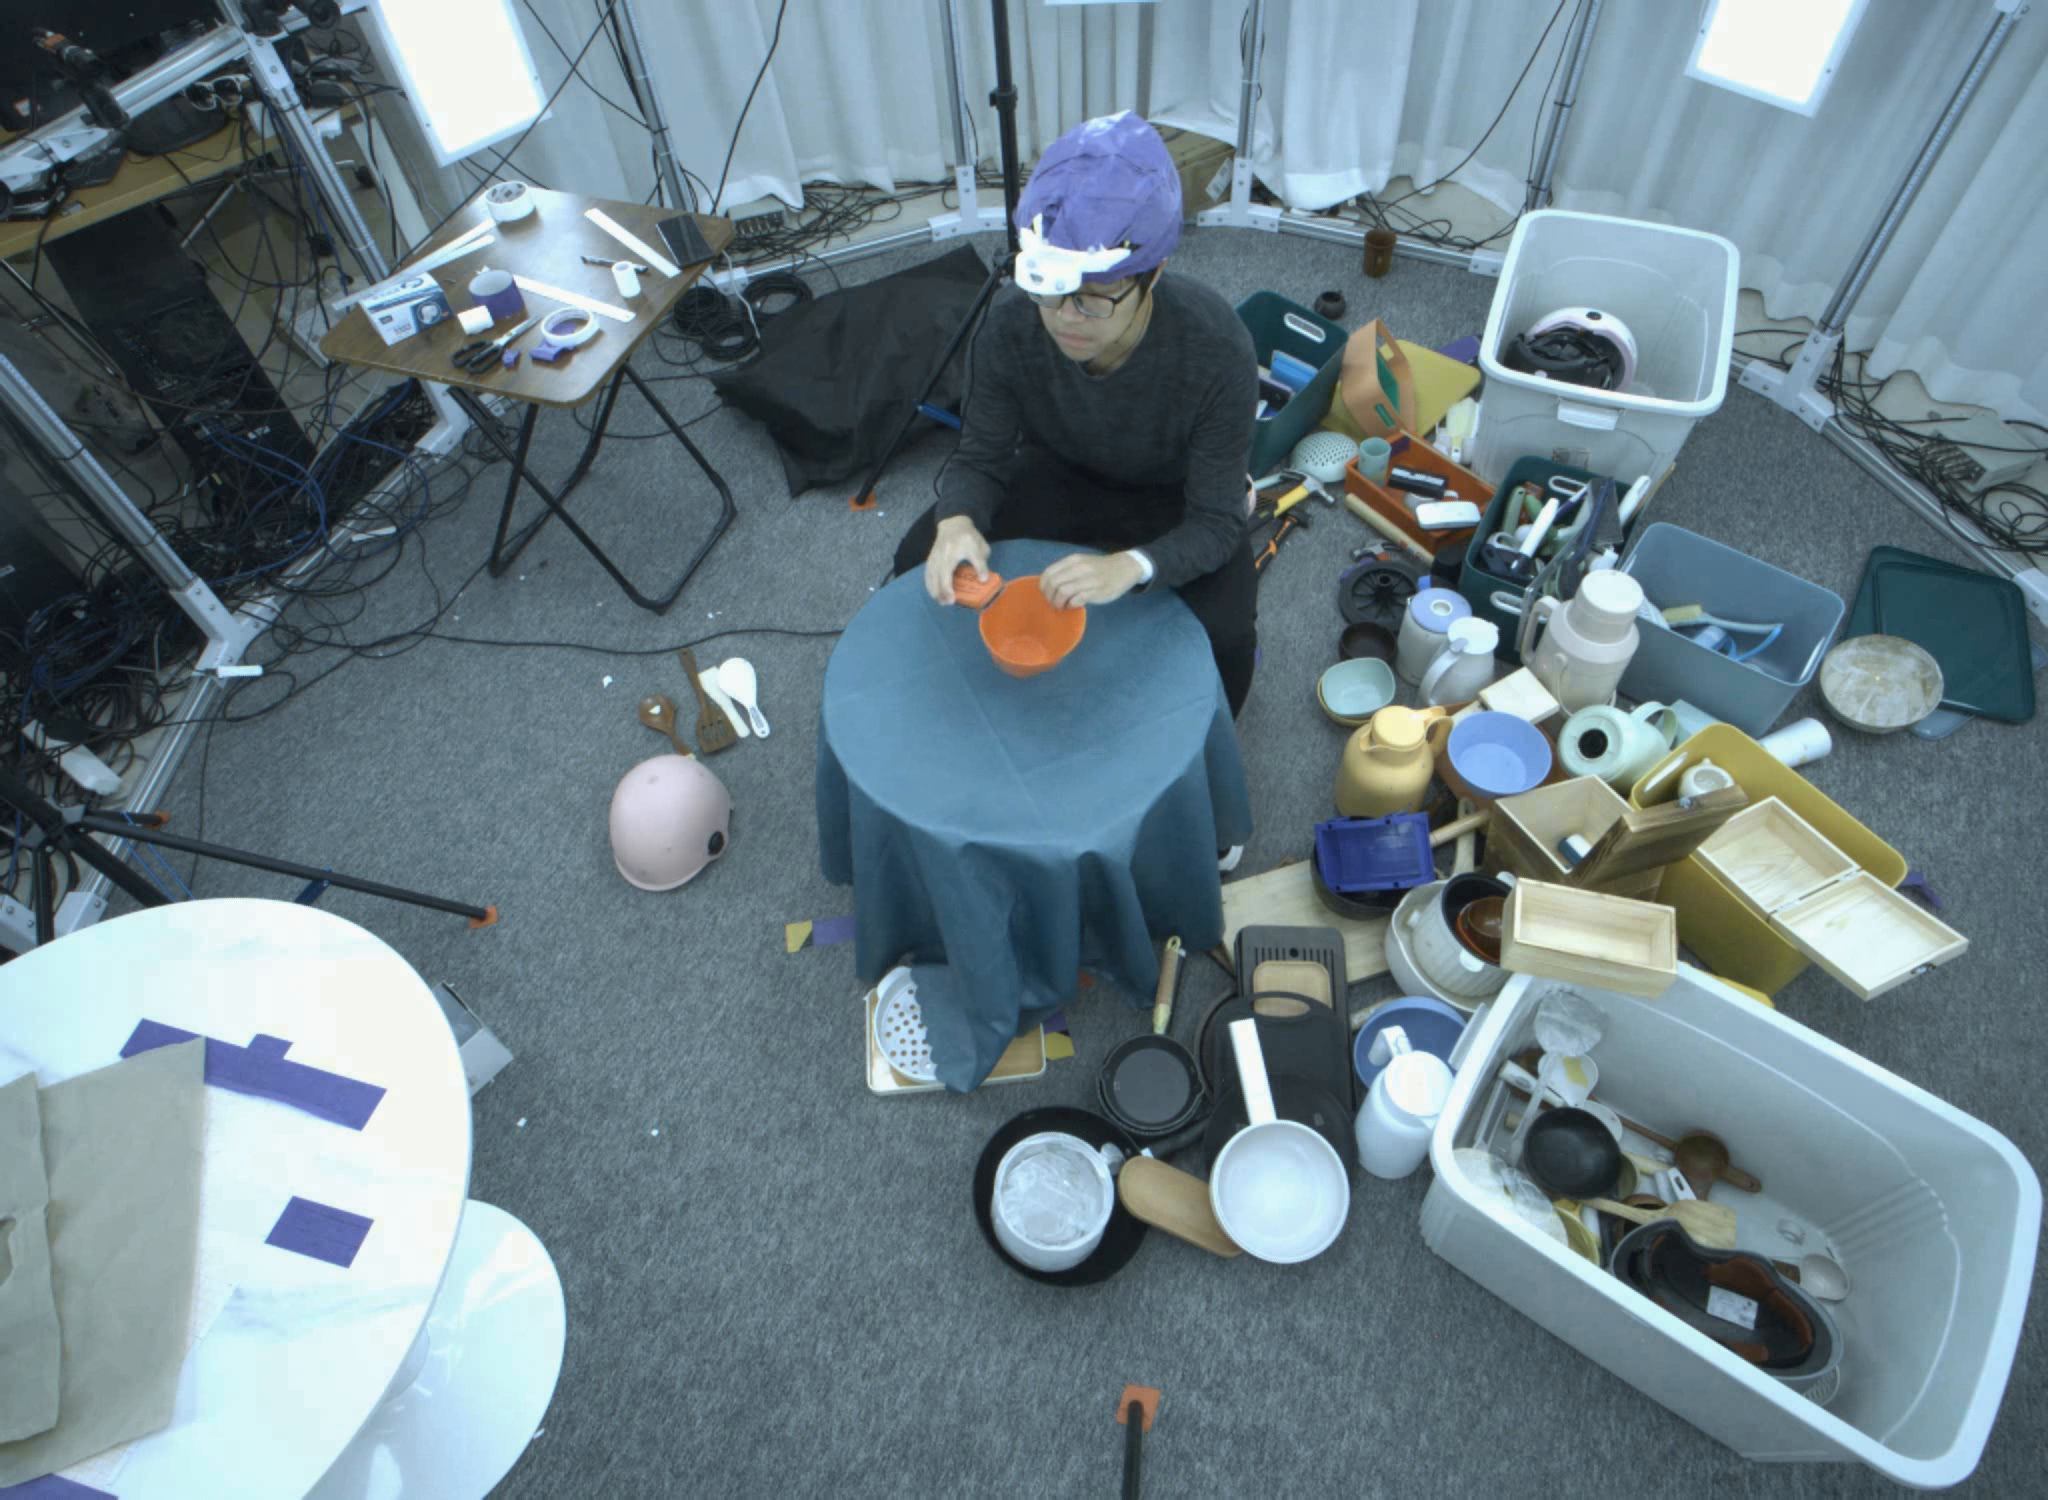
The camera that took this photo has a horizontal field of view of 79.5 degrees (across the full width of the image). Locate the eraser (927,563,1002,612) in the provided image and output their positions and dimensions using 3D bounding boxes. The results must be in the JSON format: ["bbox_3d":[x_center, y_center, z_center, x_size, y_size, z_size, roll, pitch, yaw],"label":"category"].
[{"bbox_3d":[-0.086,-0.232,1.748,0.105,0.023,0.059,22,67,41],"label":"eraser"}]

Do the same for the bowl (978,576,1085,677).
[{"bbox_3d":[0.007,-0.162,1.749,0.149,0.105,0.146,3,61,-5],"label":"bowl"}]
